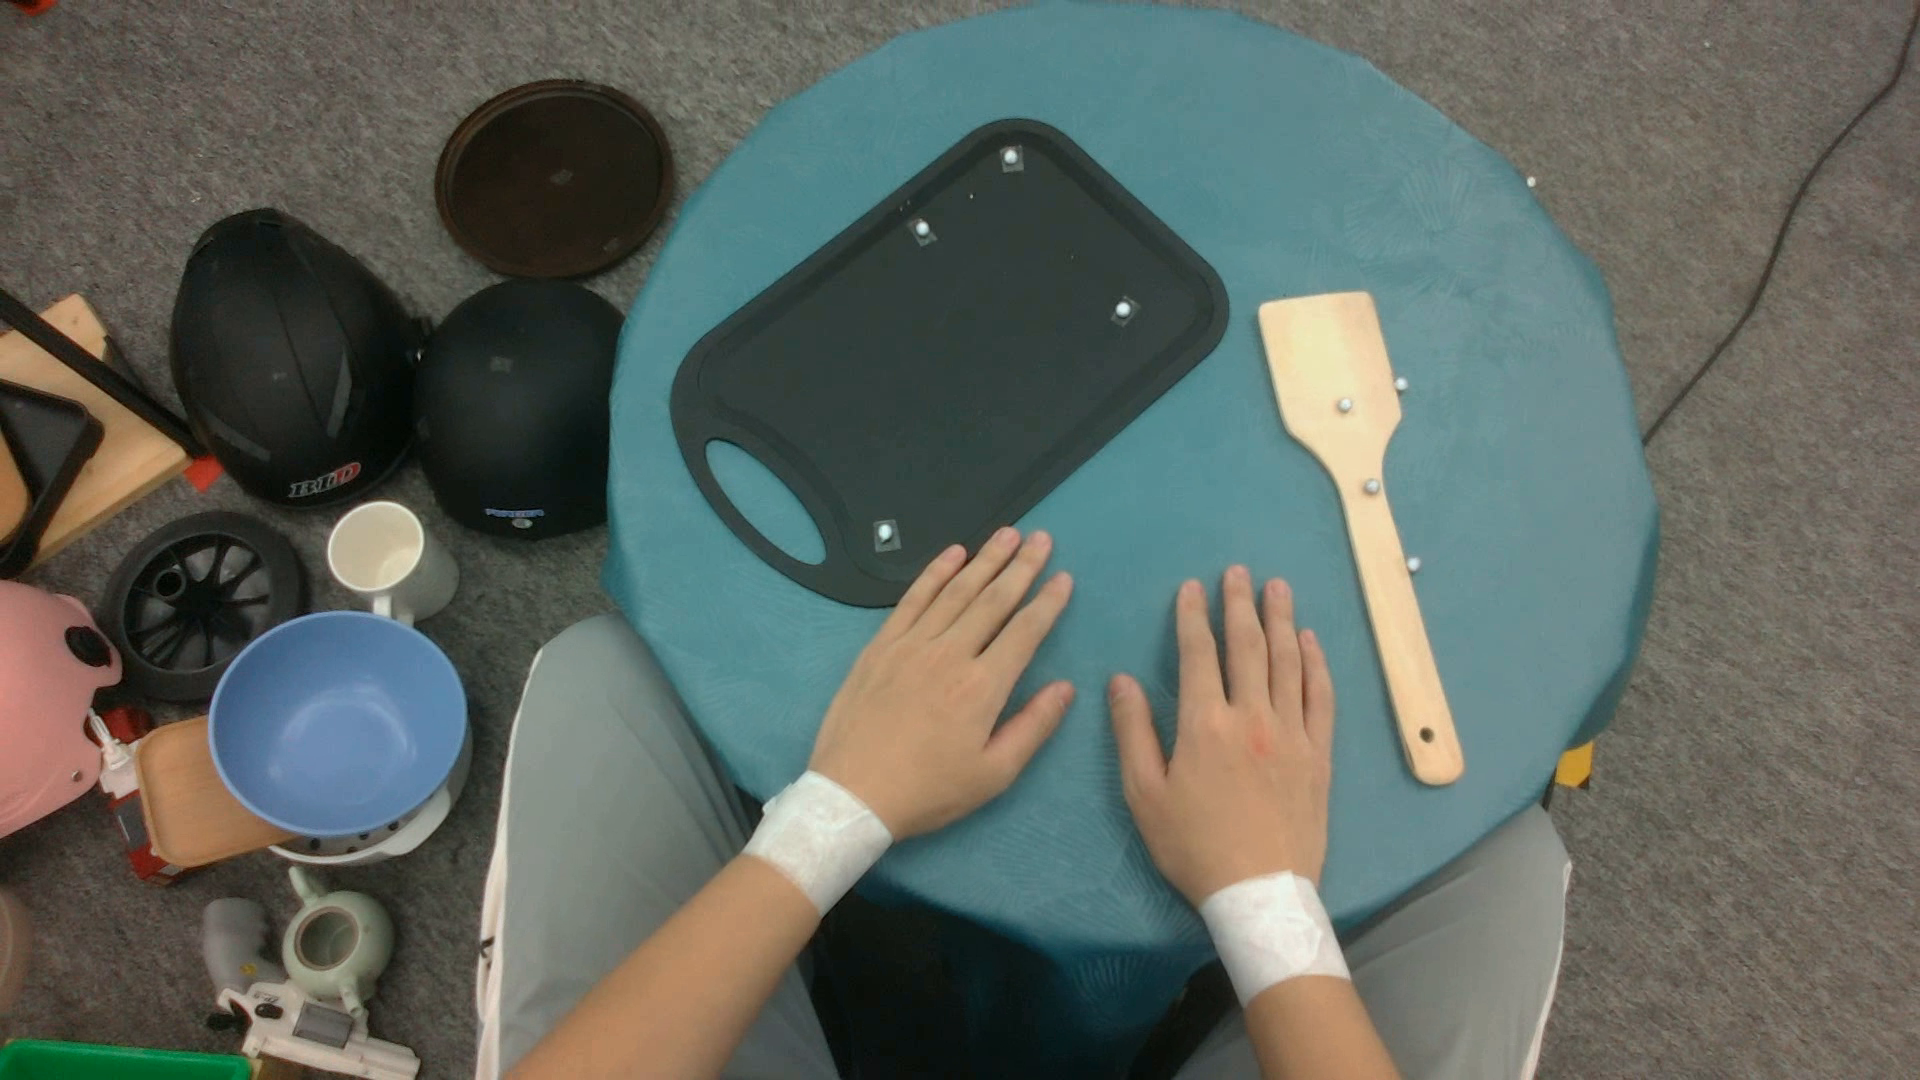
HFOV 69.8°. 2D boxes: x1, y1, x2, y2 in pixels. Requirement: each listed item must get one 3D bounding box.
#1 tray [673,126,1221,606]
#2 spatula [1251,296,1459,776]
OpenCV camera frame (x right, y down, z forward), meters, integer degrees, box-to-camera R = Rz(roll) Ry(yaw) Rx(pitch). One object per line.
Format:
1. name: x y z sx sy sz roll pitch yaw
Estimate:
1. tray: -0.010 -0.109 0.822 0.326 0.010 0.211 -41 74 -14
2. spatula: 0.233 -0.010 0.784 0.072 0.010 0.294 -8 69 -5
